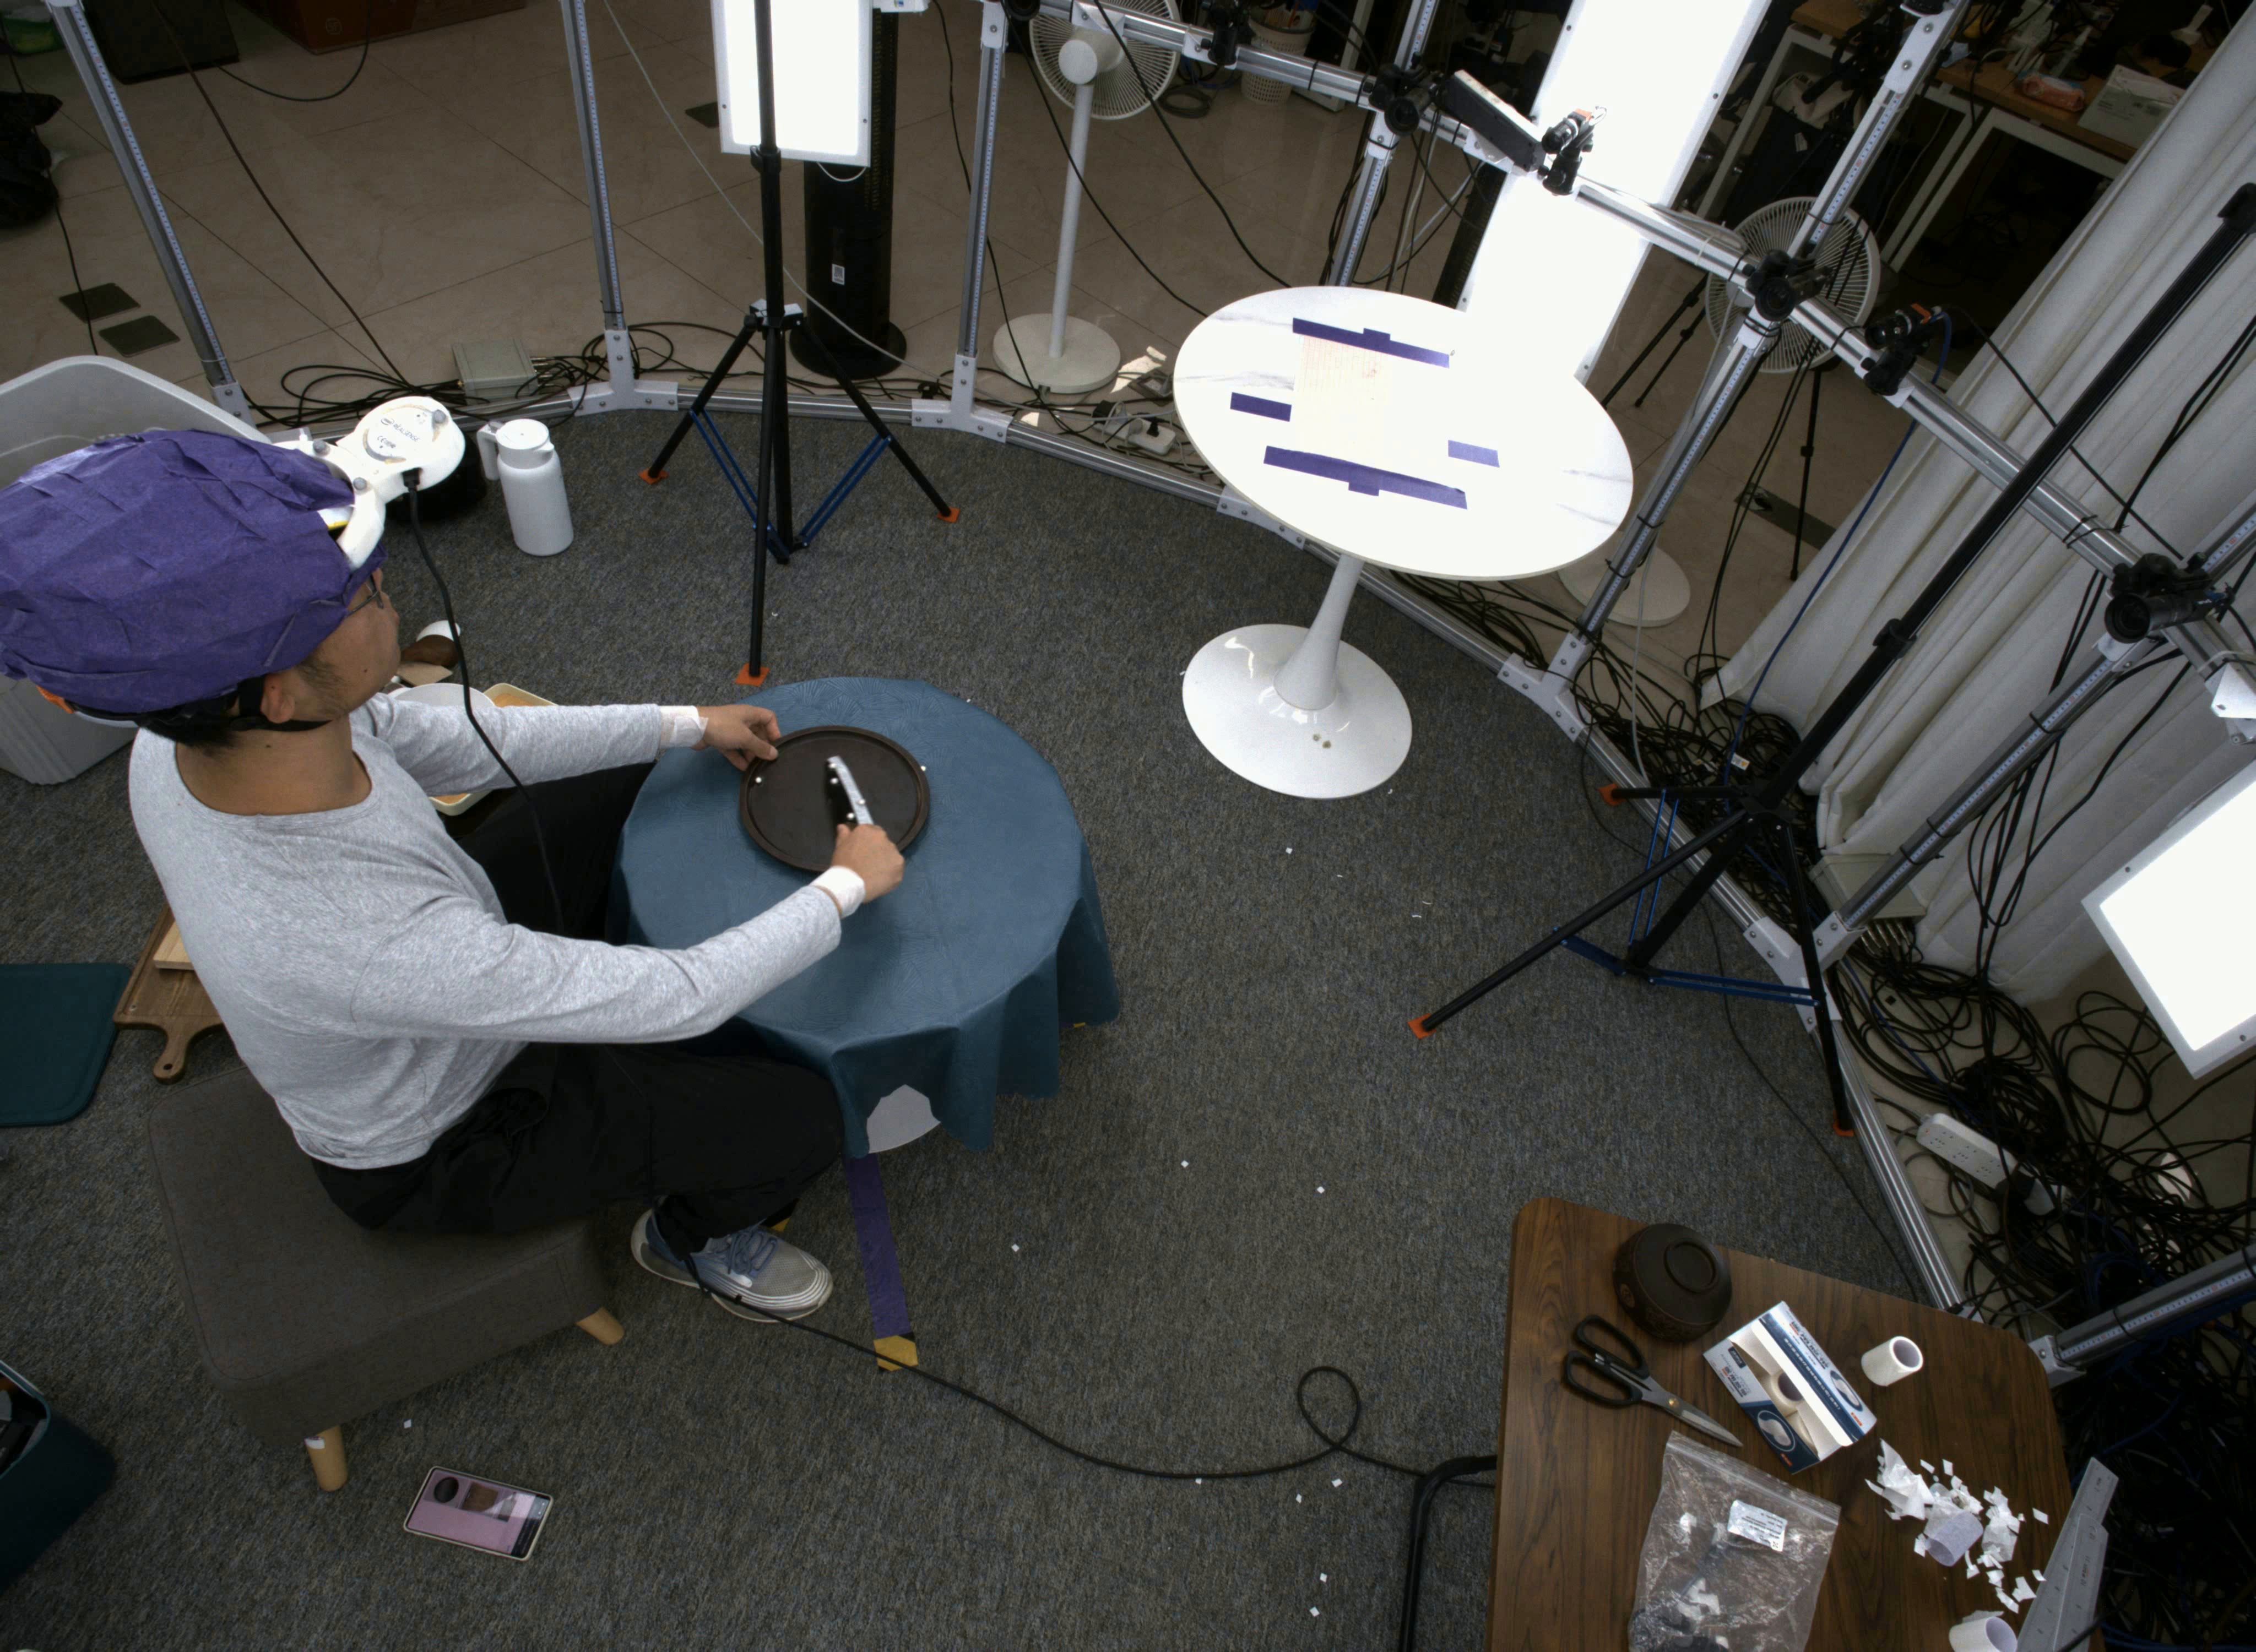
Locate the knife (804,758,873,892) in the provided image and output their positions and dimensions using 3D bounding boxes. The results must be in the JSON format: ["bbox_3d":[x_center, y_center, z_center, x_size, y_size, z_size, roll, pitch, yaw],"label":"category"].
[{"bbox_3d":[-0.377,-0.010,1.687,0.051,0.020,0.279,16,28,-37],"label":"knife"}]

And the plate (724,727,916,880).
[{"bbox_3d":[-0.413,-0.033,1.746,0.254,0.029,0.250,8,55,-9],"label":"plate"}]
